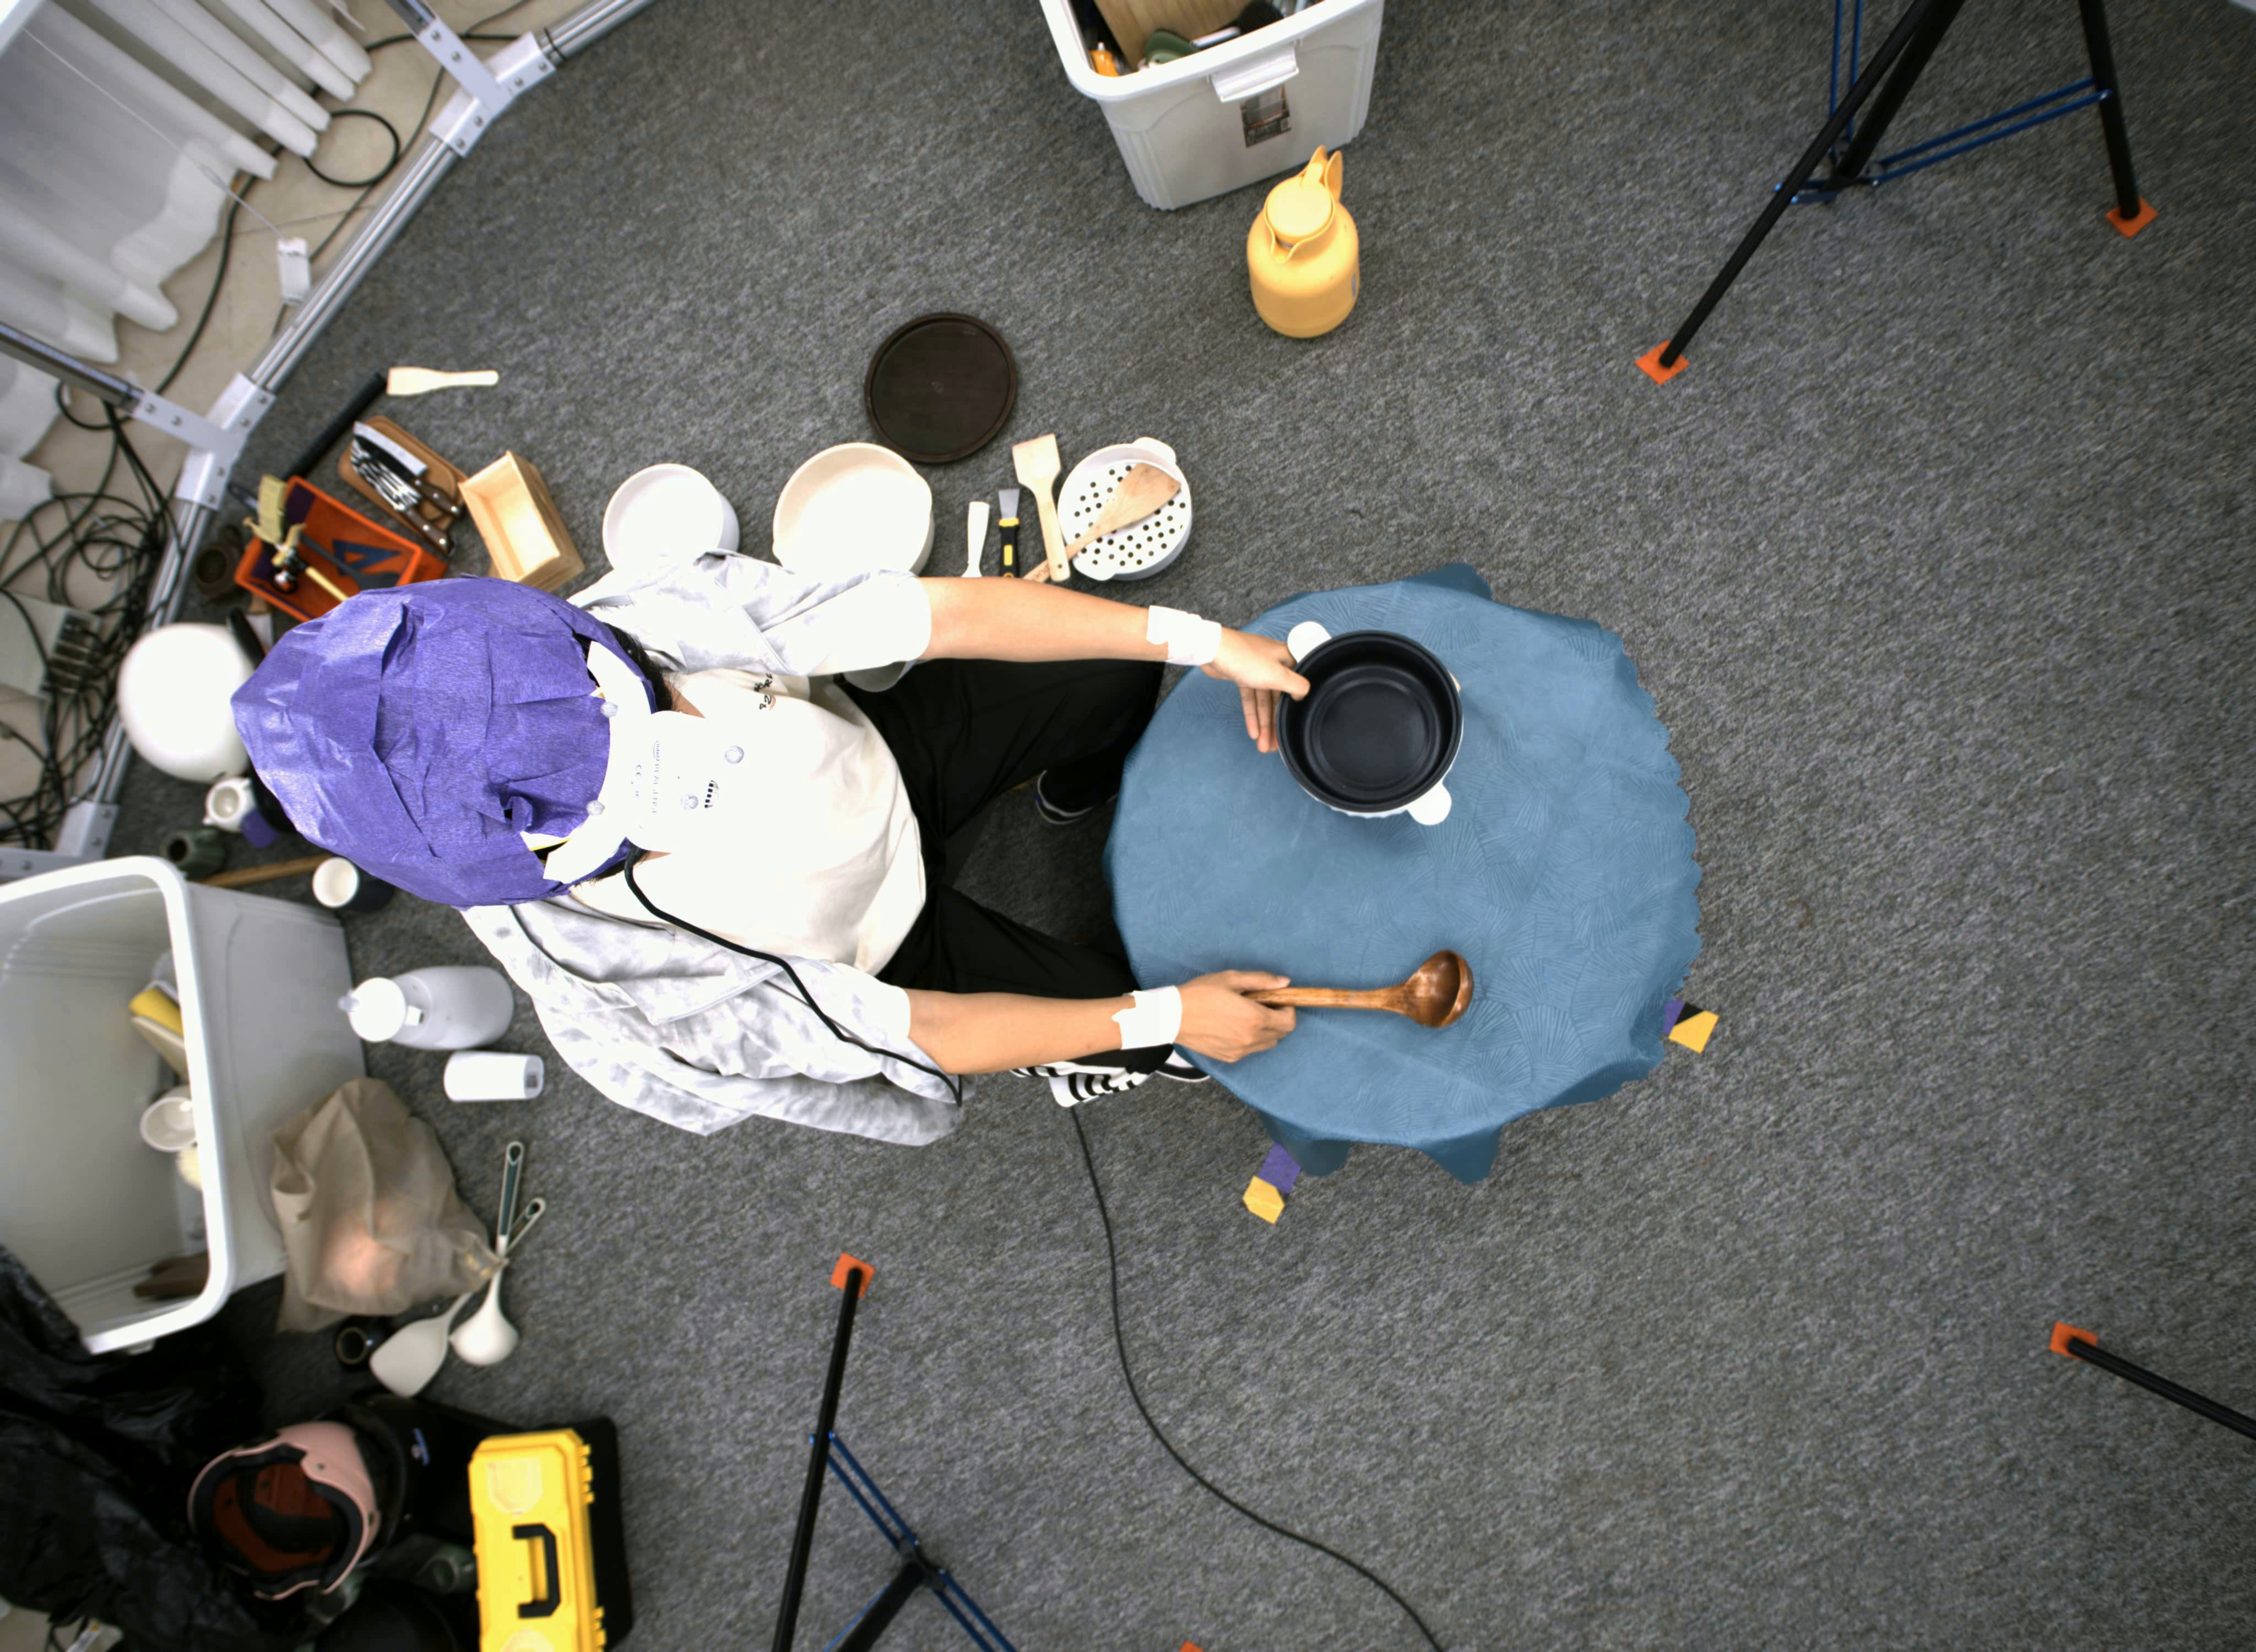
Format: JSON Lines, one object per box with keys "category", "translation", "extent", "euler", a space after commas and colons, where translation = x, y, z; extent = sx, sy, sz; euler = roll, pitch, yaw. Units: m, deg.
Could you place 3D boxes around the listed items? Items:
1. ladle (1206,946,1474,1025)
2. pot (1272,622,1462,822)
{"category": "ladle", "translation": [0.213, 0.161, 1.417], "extent": [0.275, 0.078, 0.080], "euler": [1, 53, 11]}
{"category": "pot", "translation": [0.251, -0.104, 1.398], "extent": [0.192, 0.142, 0.239], "euler": [-38, 81, 12]}
